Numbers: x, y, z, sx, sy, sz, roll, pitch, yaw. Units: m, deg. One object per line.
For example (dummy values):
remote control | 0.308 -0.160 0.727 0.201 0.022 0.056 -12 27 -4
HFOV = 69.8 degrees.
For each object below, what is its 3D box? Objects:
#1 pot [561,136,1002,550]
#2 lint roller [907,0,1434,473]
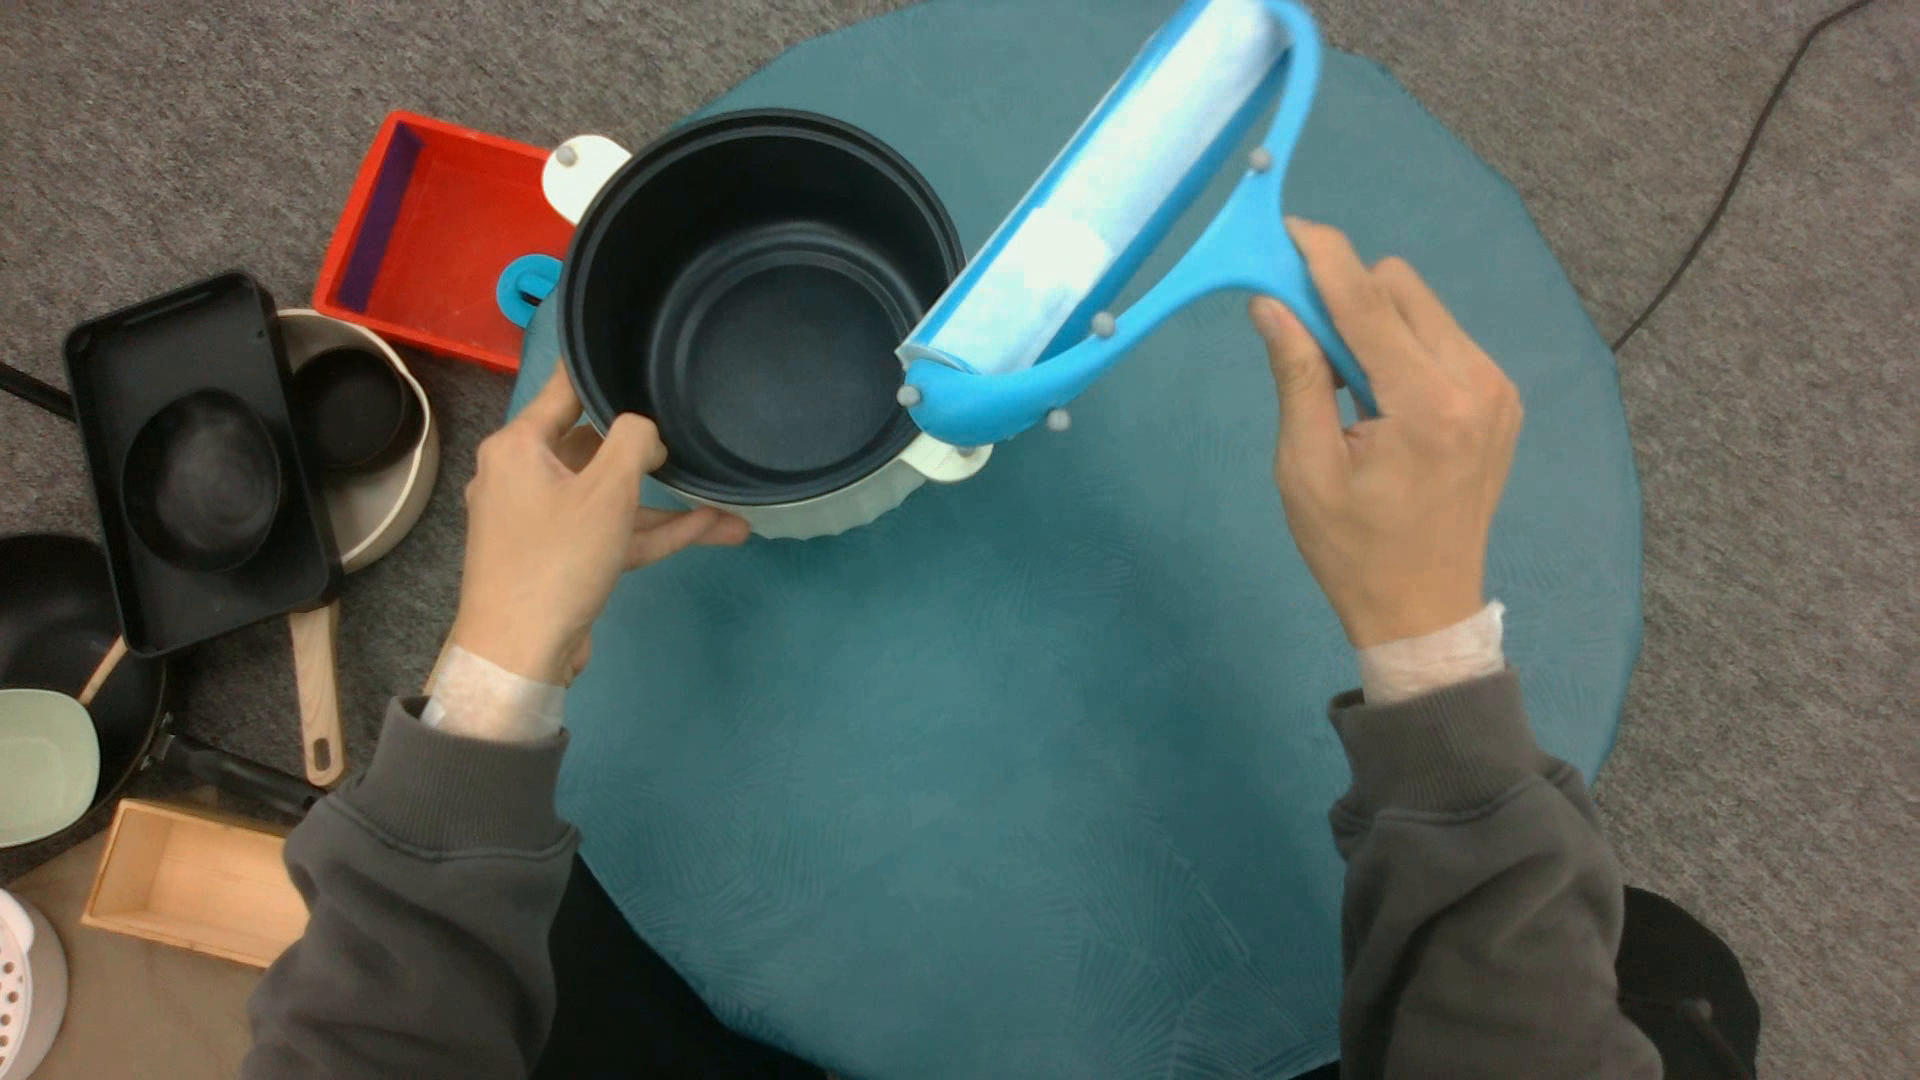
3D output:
pot | -0.078 -0.091 0.683 0.240 0.142 0.190 35 85 7
lint roller | 0.106 -0.092 0.523 0.180 0.068 0.229 34 80 14
